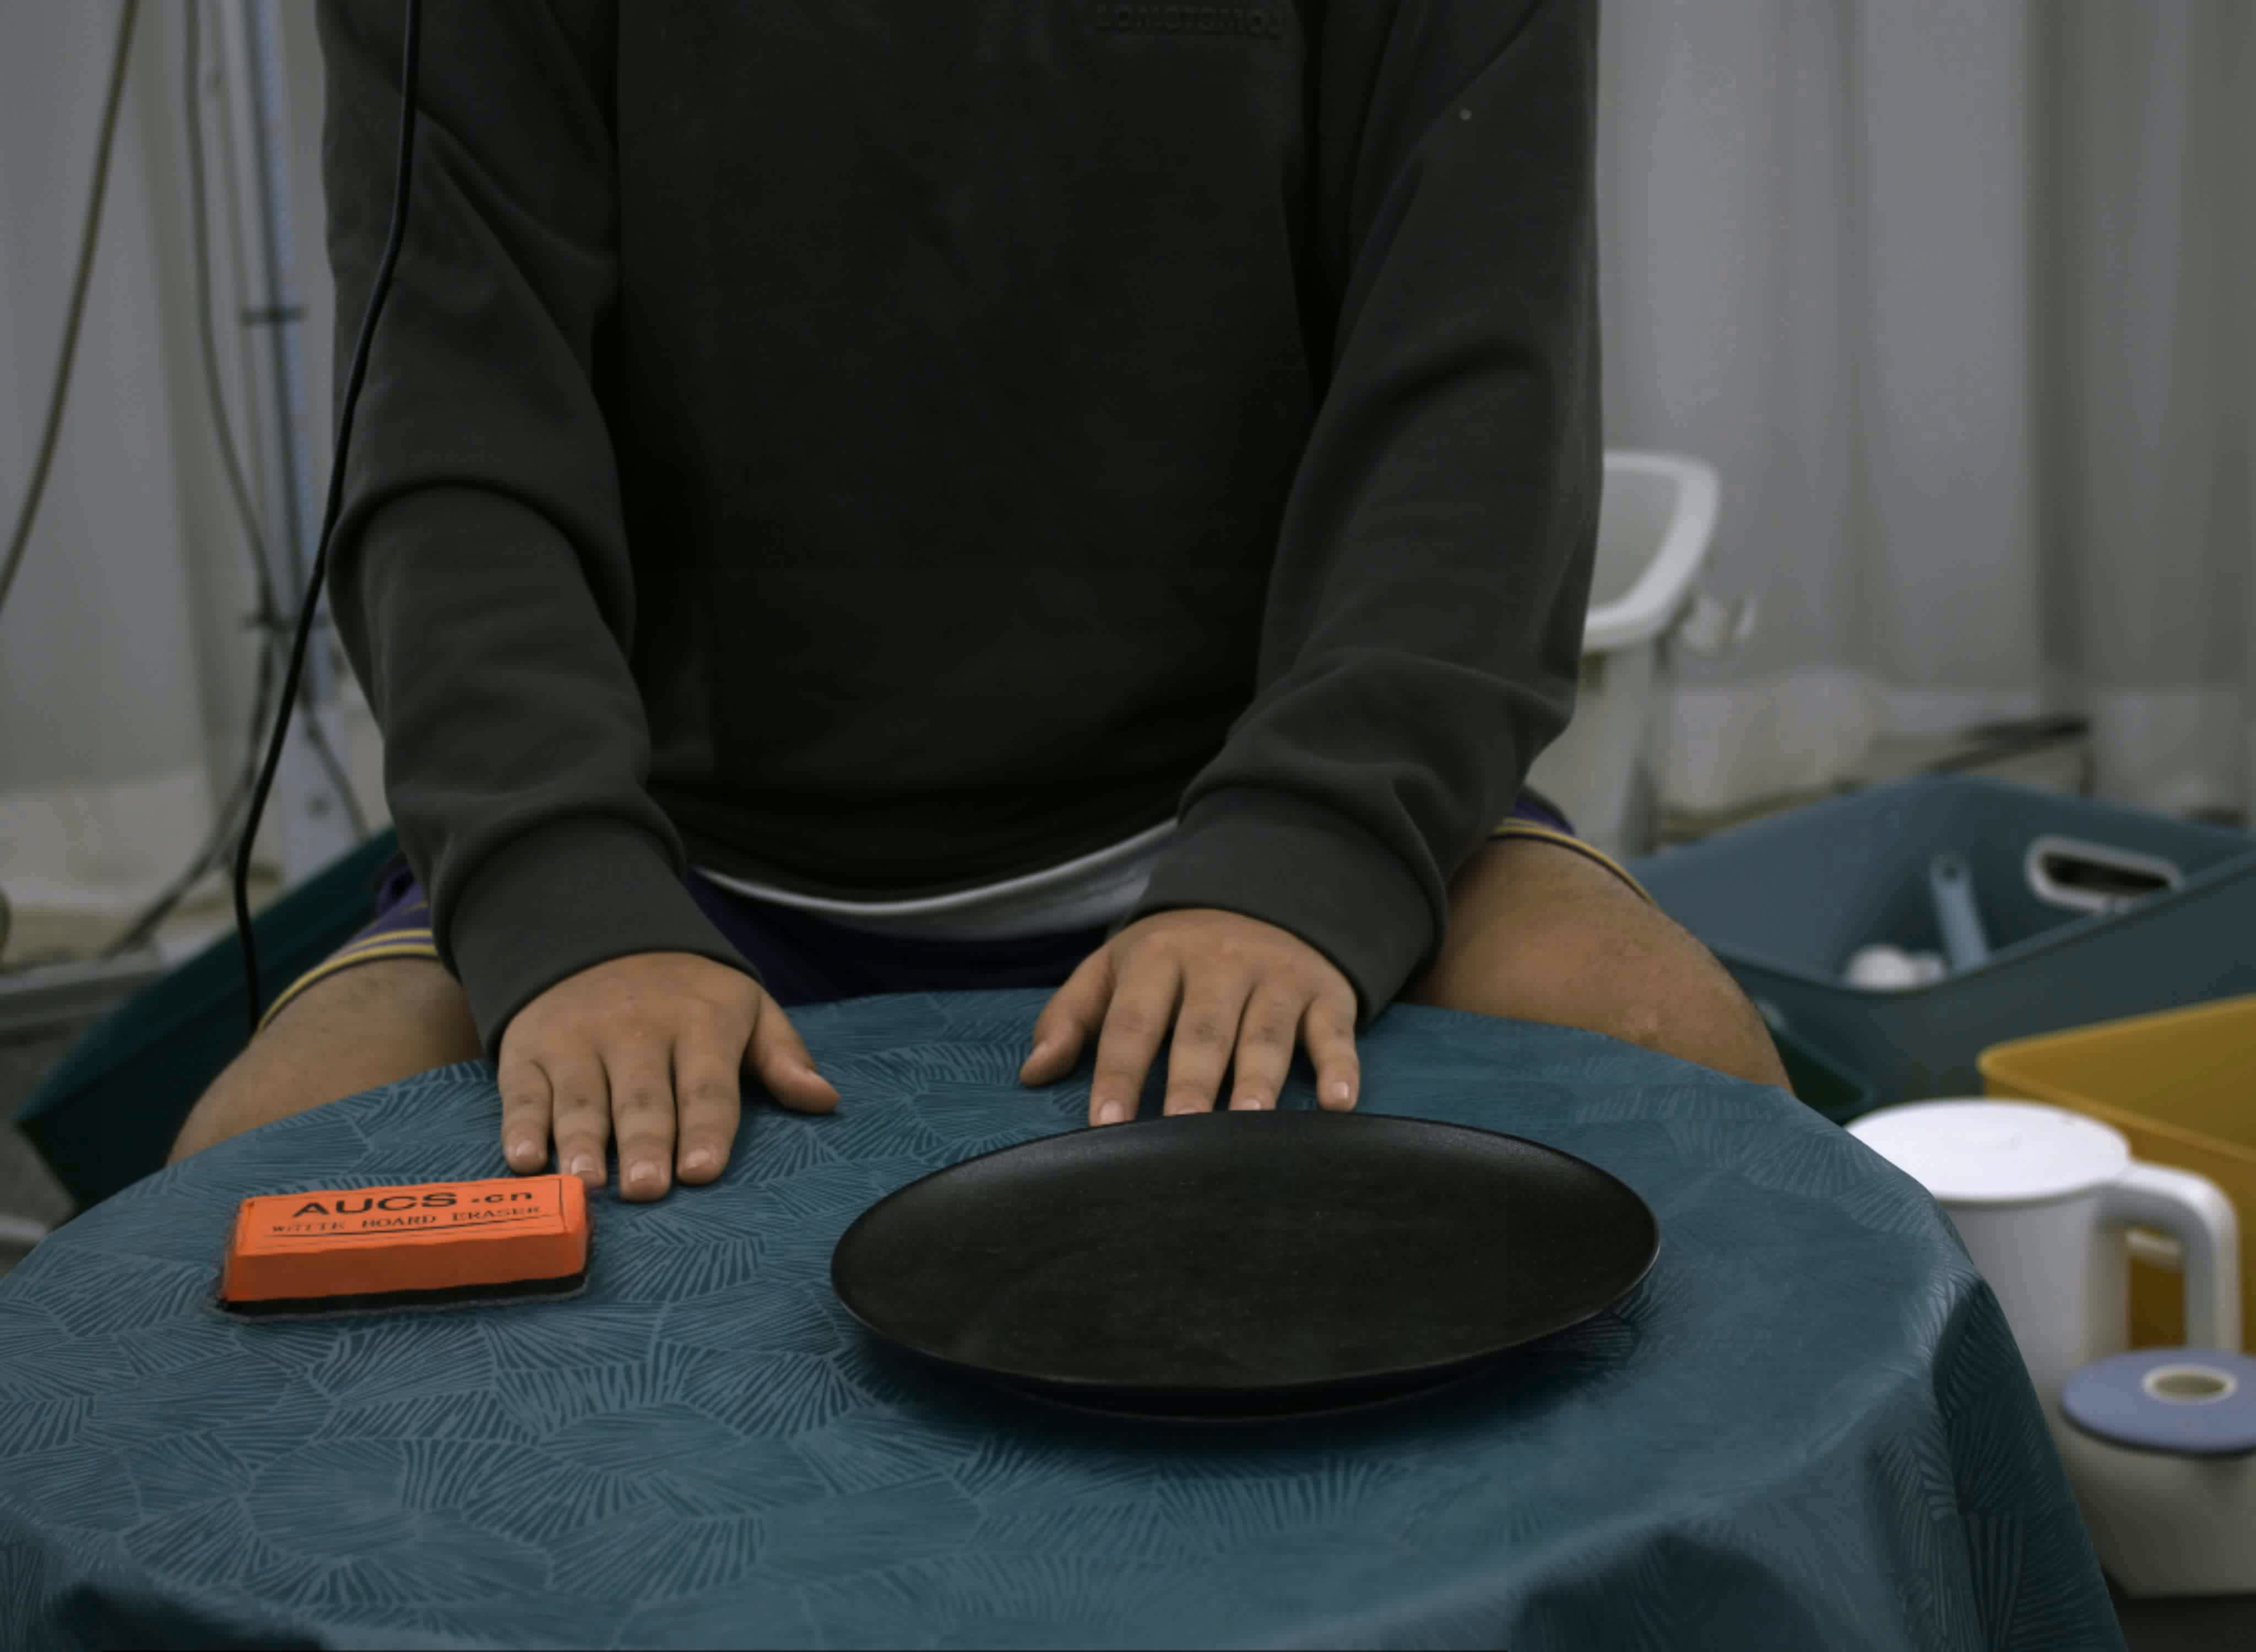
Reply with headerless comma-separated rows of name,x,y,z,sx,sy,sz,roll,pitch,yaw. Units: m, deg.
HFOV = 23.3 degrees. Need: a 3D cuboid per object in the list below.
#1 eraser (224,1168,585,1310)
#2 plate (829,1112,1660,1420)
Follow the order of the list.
eraser,-0.219,0.125,1.662,0.107,0.023,0.059,-3,15,-5
plate,0.034,0.131,1.602,0.243,0.023,0.246,-3,15,1
